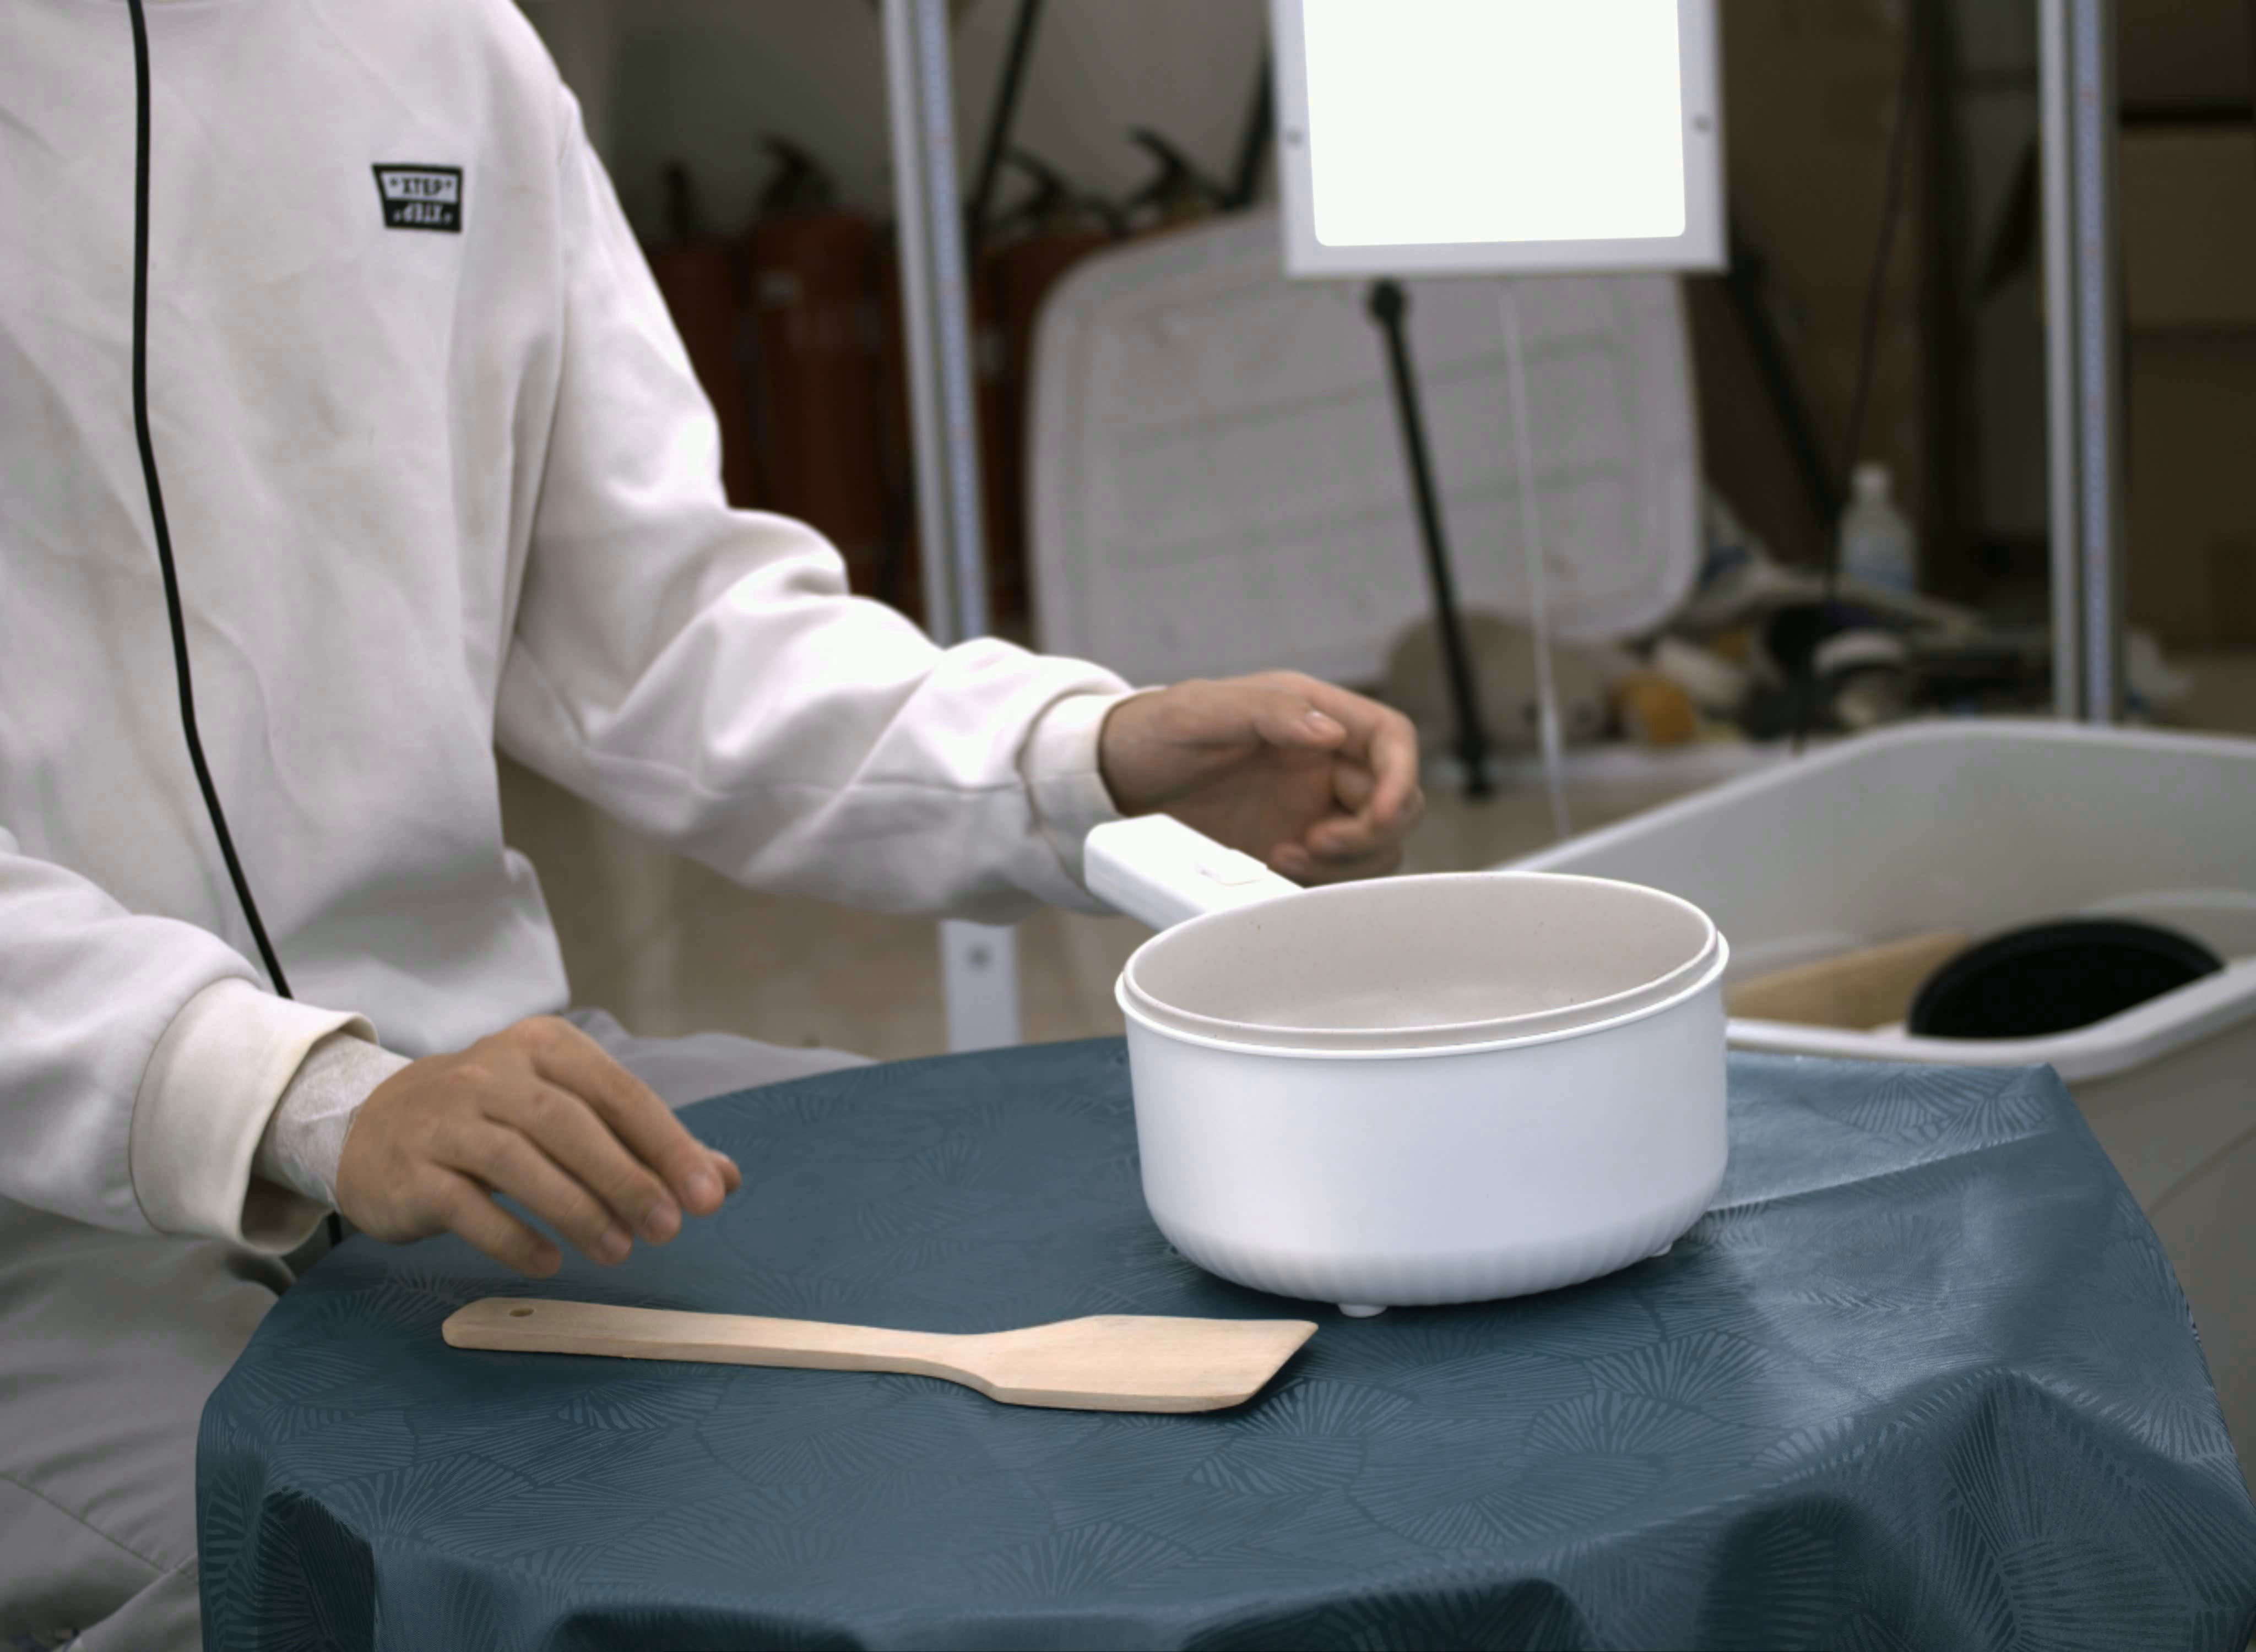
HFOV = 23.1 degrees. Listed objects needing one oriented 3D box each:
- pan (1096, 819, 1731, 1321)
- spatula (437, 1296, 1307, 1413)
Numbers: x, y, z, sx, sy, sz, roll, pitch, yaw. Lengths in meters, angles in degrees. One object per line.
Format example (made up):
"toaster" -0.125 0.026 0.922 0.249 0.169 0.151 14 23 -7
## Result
"pan" 0.072 0.076 1.877 0.198 0.102 0.359 -11 14 -19
"spatula" -0.089 0.165 1.754 0.297 0.011 0.071 1 17 24
